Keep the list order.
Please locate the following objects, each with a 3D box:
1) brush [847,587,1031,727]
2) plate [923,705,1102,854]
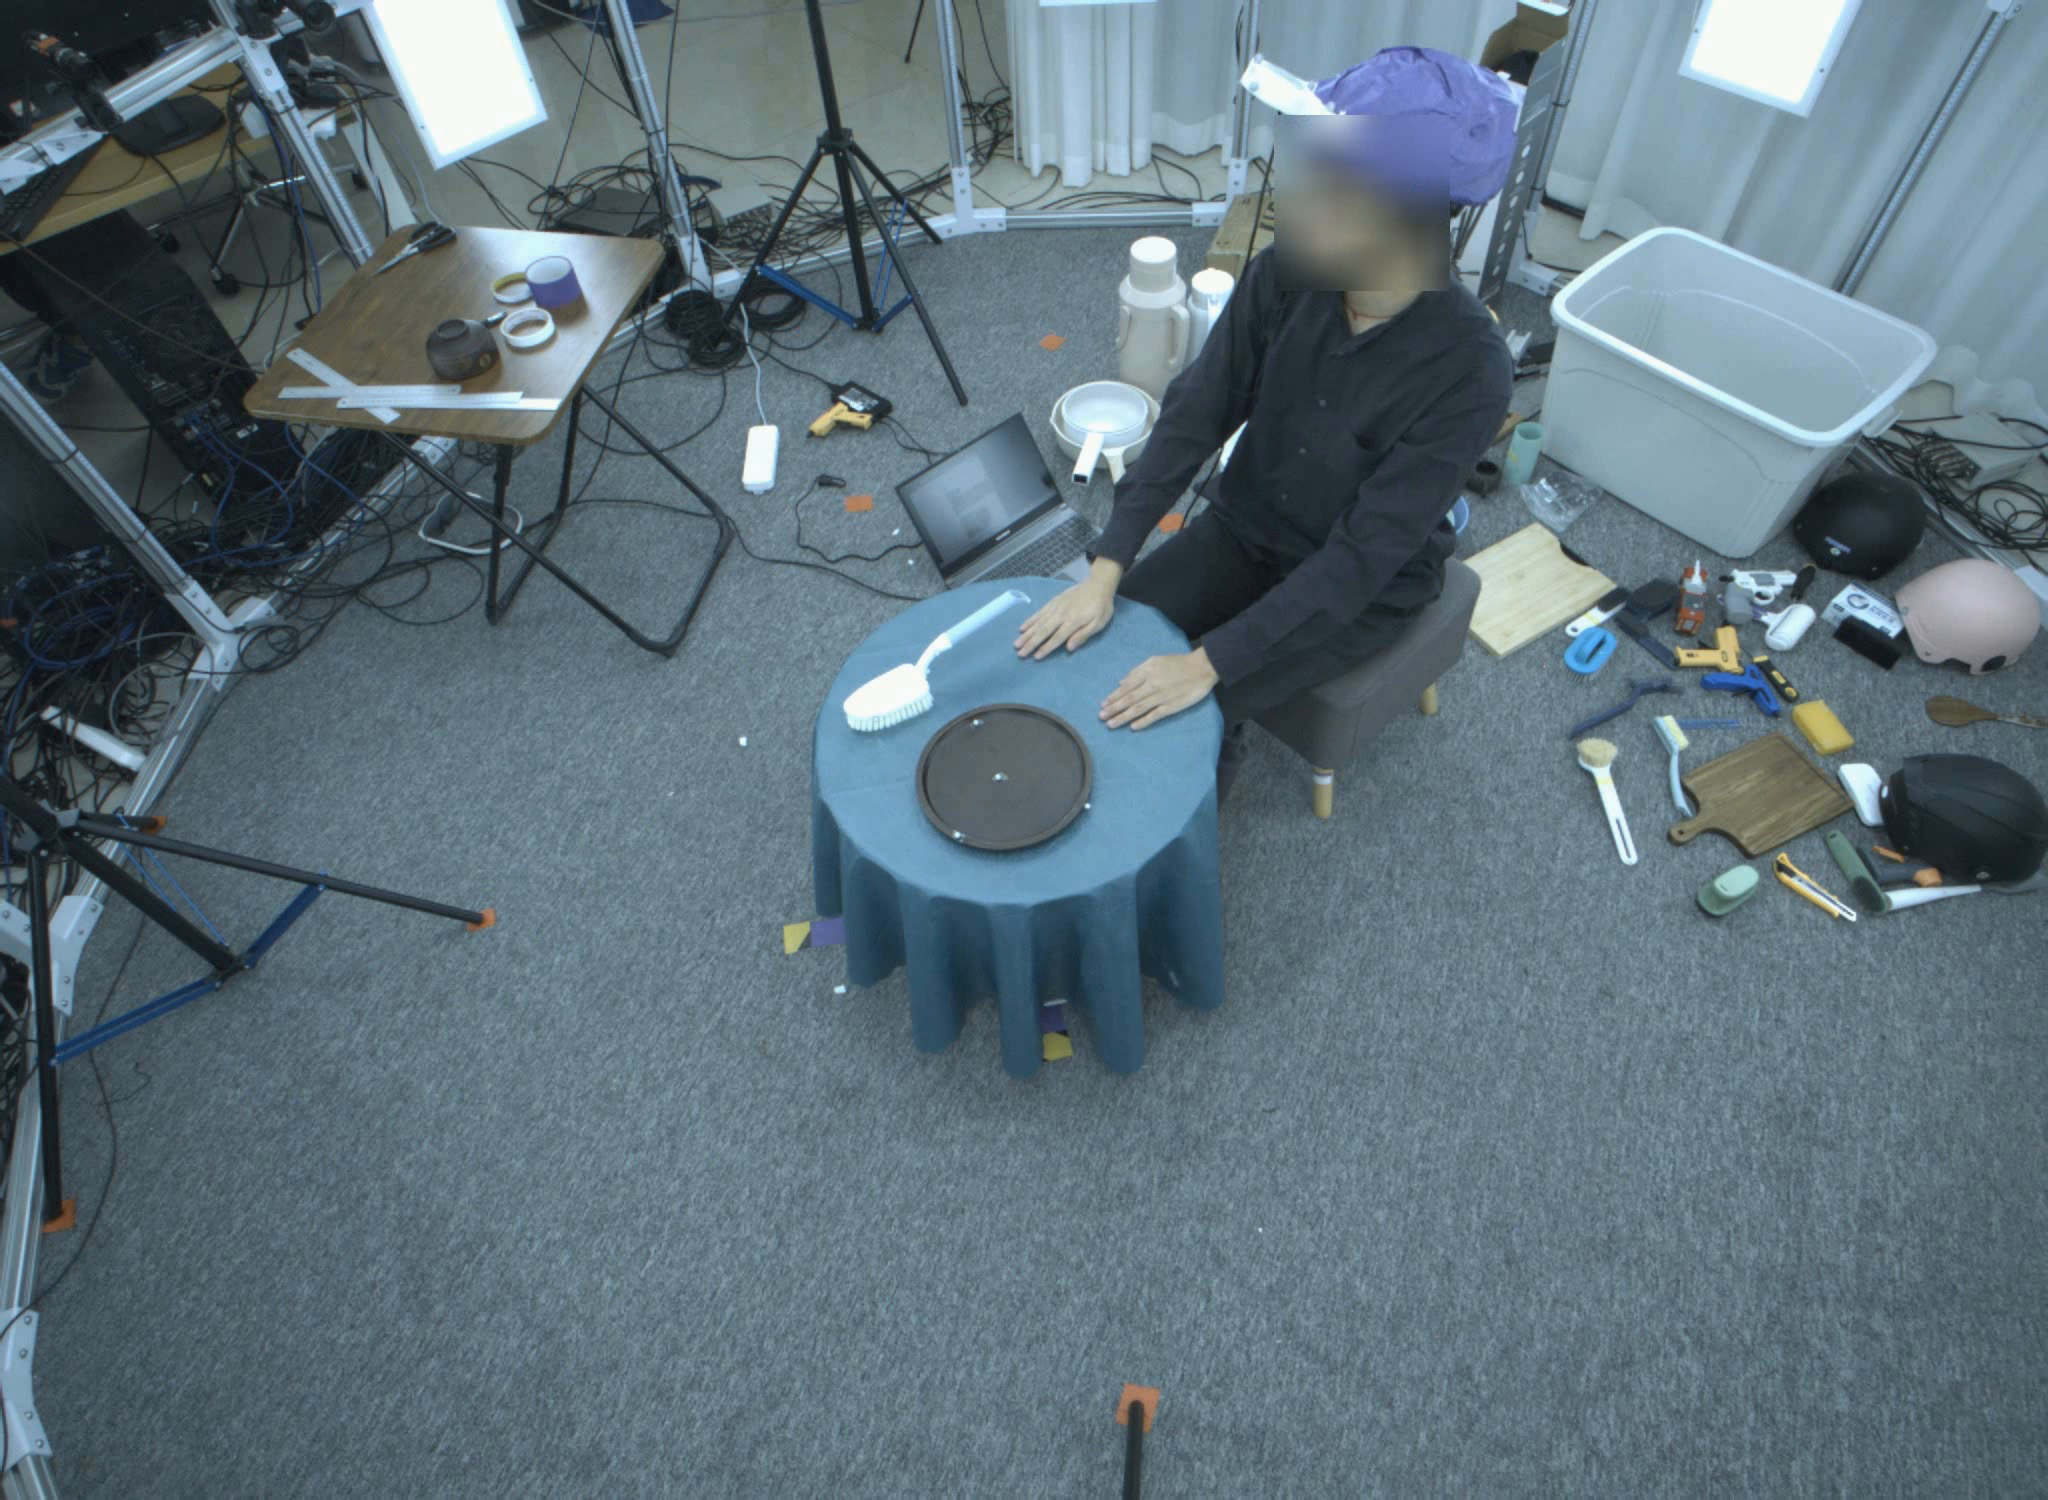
[{"bbox_3d":[-0.118,-0.129,1.833,0.326,0.084,0.083,-34,96,-7],"label":"brush"},{"bbox_3d":[-0.017,0.040,1.743,0.254,0.029,0.252,-1,53,3],"label":"plate"}]
